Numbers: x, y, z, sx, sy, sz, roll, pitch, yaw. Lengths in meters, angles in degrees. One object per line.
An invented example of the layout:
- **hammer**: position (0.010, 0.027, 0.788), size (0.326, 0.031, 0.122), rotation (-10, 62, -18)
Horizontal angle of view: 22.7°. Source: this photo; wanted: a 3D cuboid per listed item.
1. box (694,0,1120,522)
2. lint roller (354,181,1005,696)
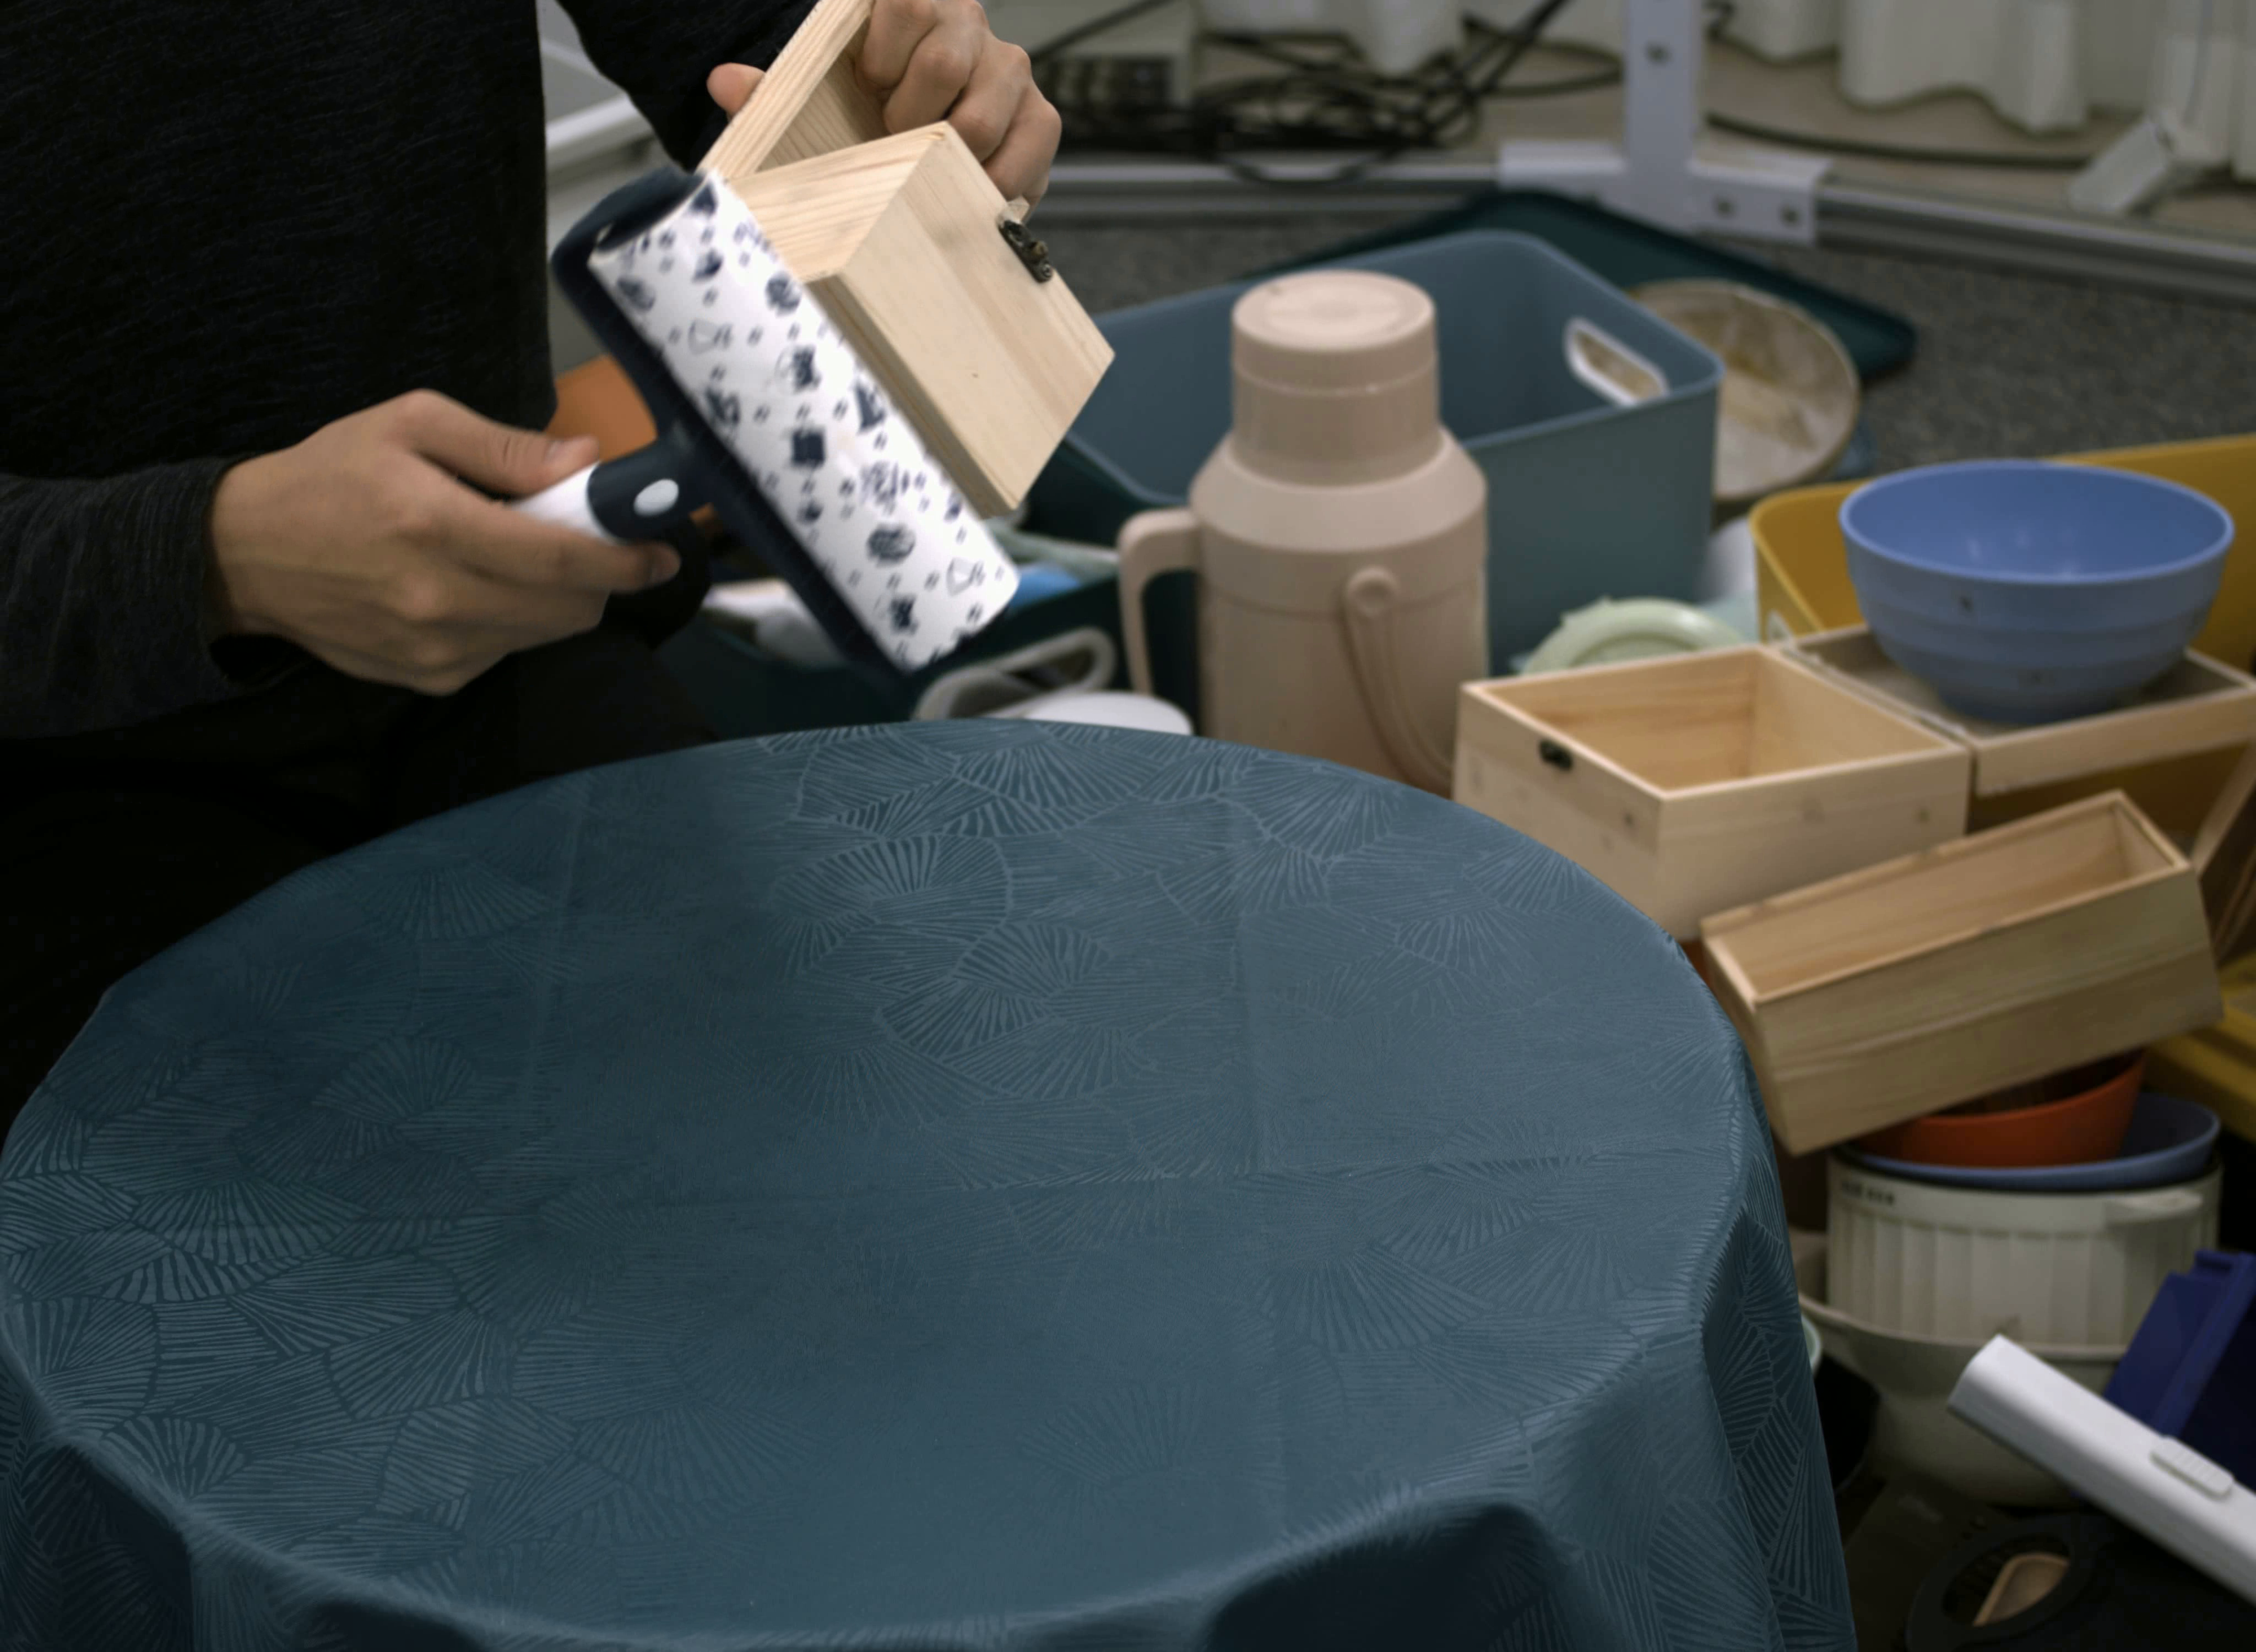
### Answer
- **box**: position (-0.066, -0.192, 1.860), size (0.132, 0.102, 0.188), rotation (-11, 36, 40)
- **lint roller**: position (-0.169, -0.093, 1.782), size (0.243, 0.175, 0.051), rotation (-21, 23, 42)
